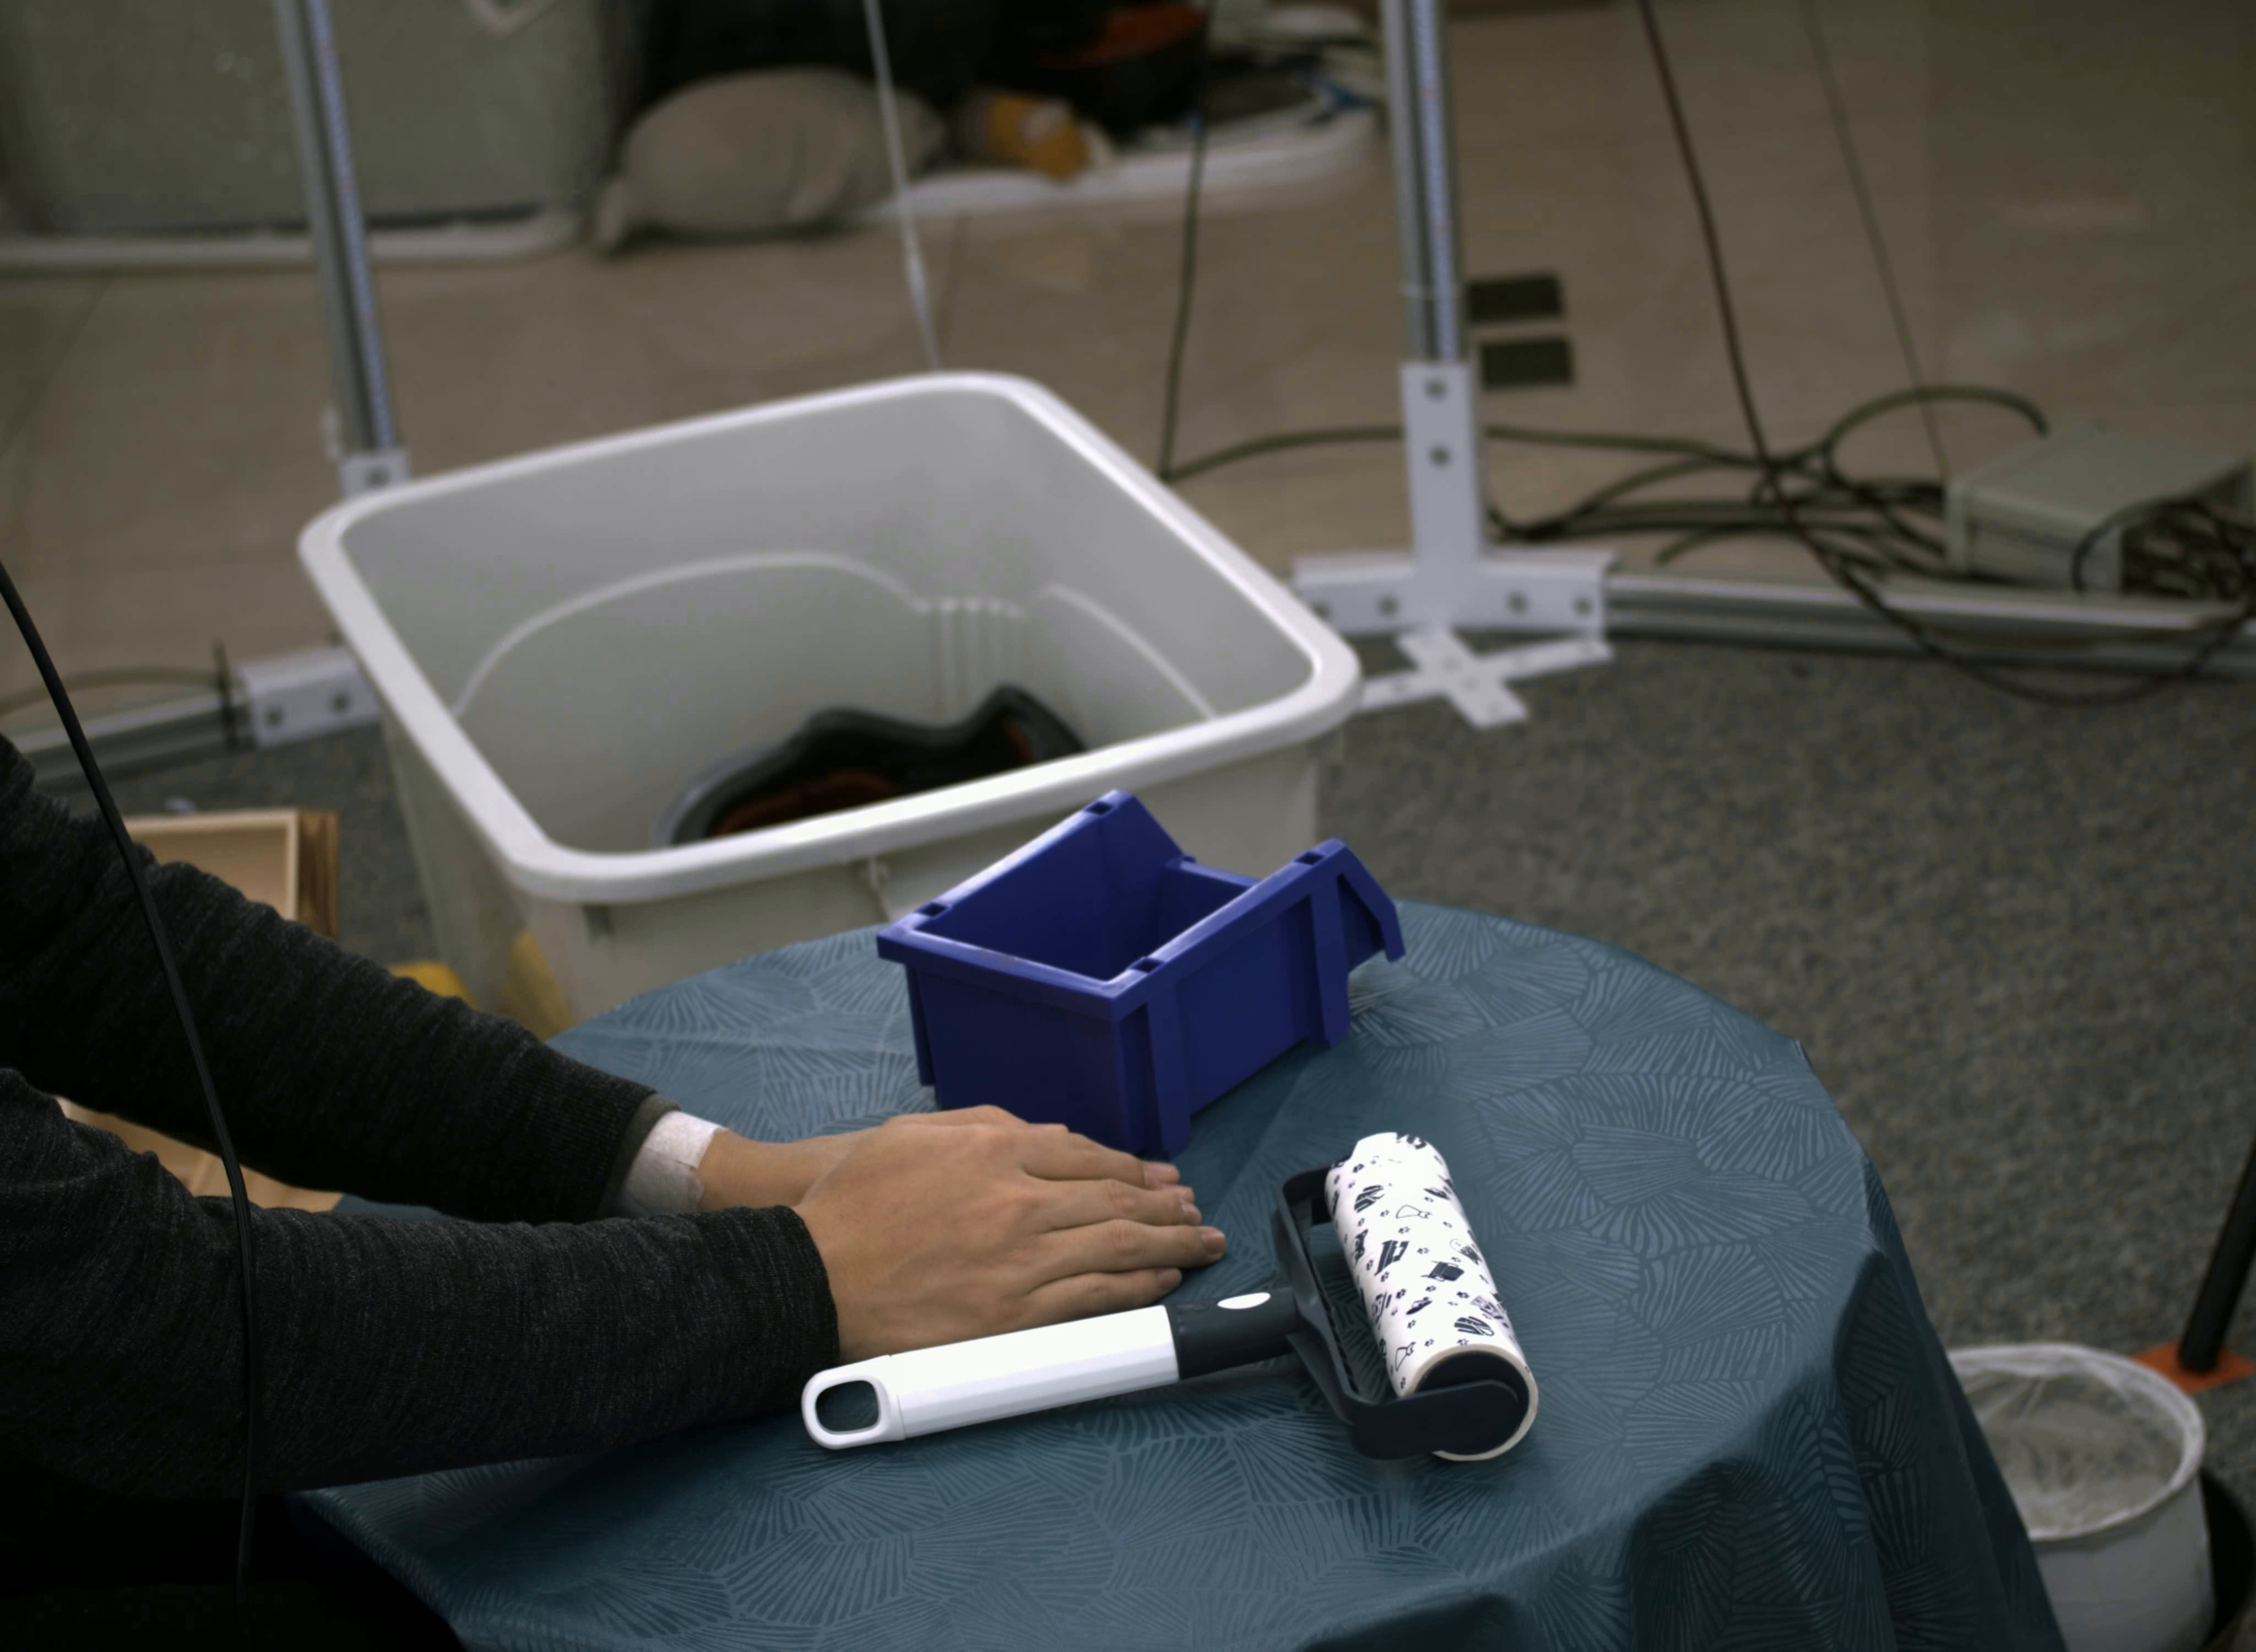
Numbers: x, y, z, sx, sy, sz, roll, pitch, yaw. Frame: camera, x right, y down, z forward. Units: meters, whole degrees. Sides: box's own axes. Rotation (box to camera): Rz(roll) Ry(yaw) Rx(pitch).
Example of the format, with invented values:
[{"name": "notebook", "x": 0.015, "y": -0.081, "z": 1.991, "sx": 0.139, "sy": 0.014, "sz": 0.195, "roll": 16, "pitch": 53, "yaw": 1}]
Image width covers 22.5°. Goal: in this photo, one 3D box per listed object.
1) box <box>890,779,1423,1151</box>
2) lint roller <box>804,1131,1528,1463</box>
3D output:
[{"name": "box", "x": 0.012, "y": 0.050, "z": 2.238, "sx": 0.123, "sy": 0.083, "sz": 0.177, "roll": 15, "pitch": 35, "yaw": 38}, {"name": "lint roller", "x": 0.006, "y": 0.183, "z": 2.000, "sx": 0.246, "sy": 0.051, "sz": 0.174, "roll": -10, "pitch": 26, "yaw": -5}]
